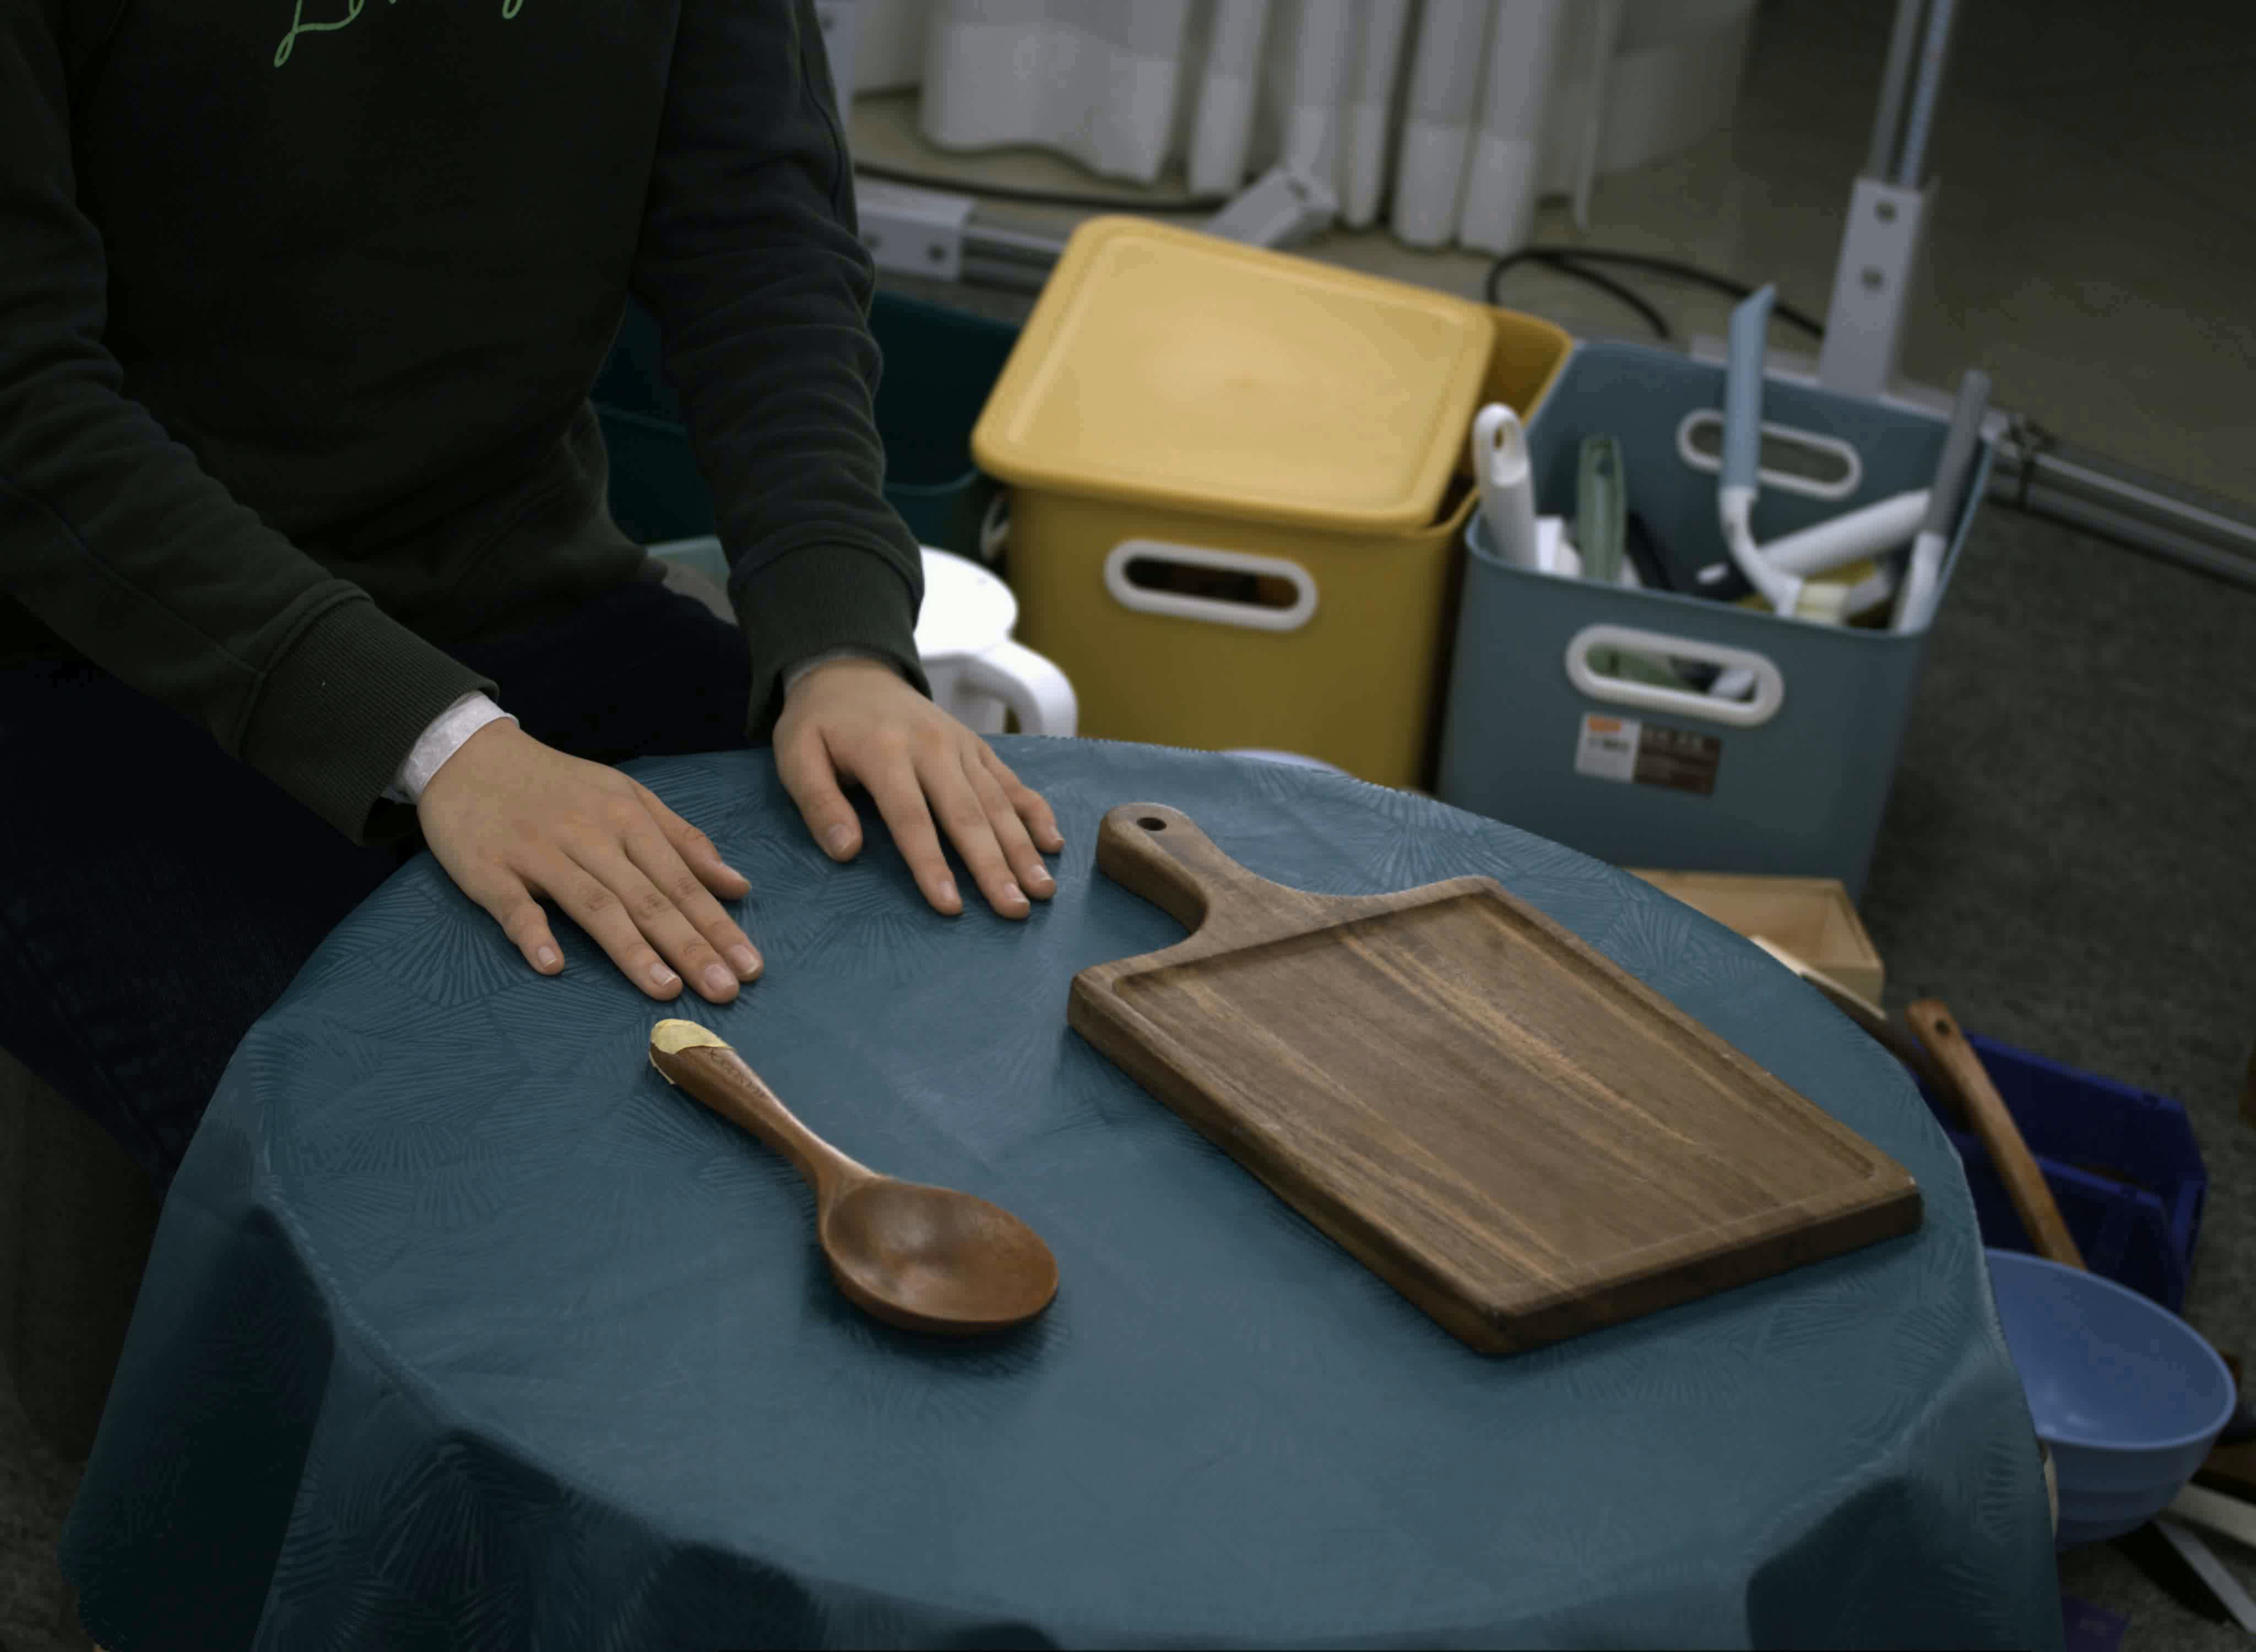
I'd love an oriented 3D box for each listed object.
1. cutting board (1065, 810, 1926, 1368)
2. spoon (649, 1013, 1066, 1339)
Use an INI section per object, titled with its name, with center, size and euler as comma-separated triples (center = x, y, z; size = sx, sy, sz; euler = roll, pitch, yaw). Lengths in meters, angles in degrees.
[cutting board]
center = 0.098, 0.077, 1.897
size = 0.200, 0.023, 0.355
euler = -14, 33, -33
[spoon]
center = -0.098, 0.116, 1.773
size = 0.075, 0.017, 0.218
euler = -15, 34, -32
